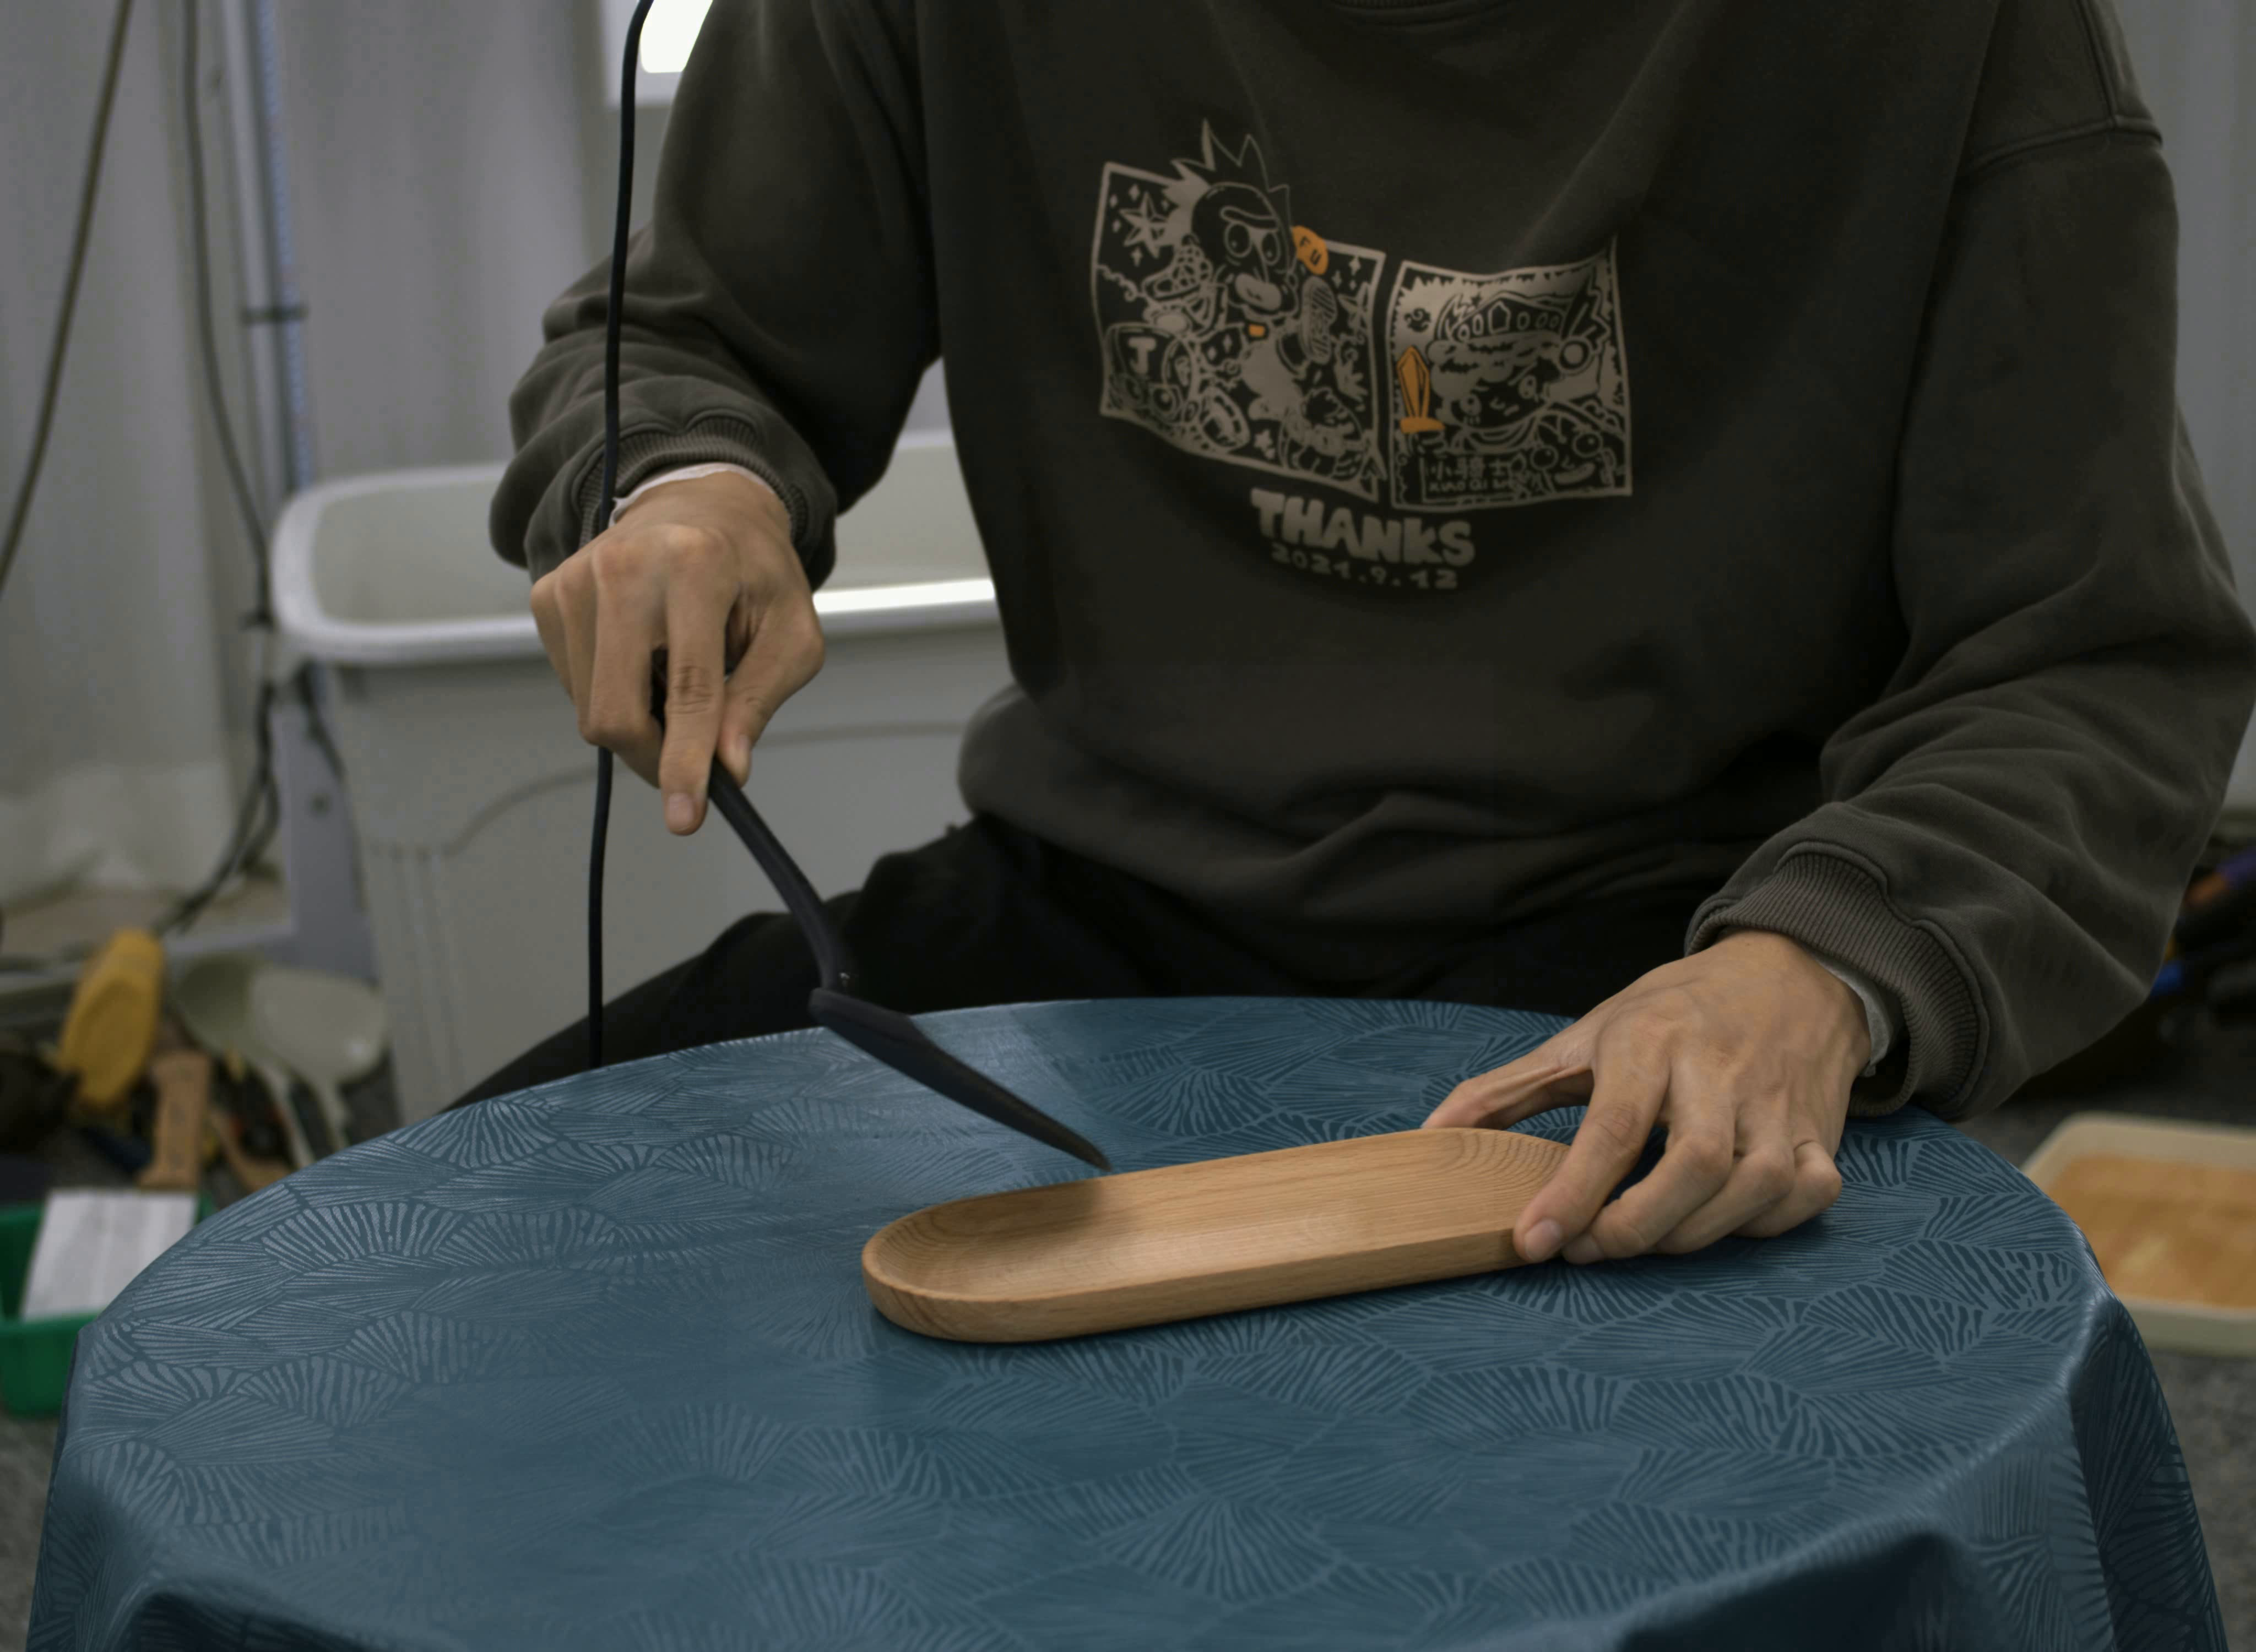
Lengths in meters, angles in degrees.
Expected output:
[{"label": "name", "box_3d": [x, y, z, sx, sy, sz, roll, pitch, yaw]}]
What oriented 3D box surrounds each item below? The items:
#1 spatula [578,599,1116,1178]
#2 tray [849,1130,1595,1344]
[{"label": "spatula", "box_3d": [-0.106, 0.008, 1.754, 0.098, 0.040, 0.331, 40, 9, -44]}, {"label": "tray", "box_3d": [0.029, 0.124, 1.651, 0.230, 0.020, 0.102, -8, 15, -14]}]
